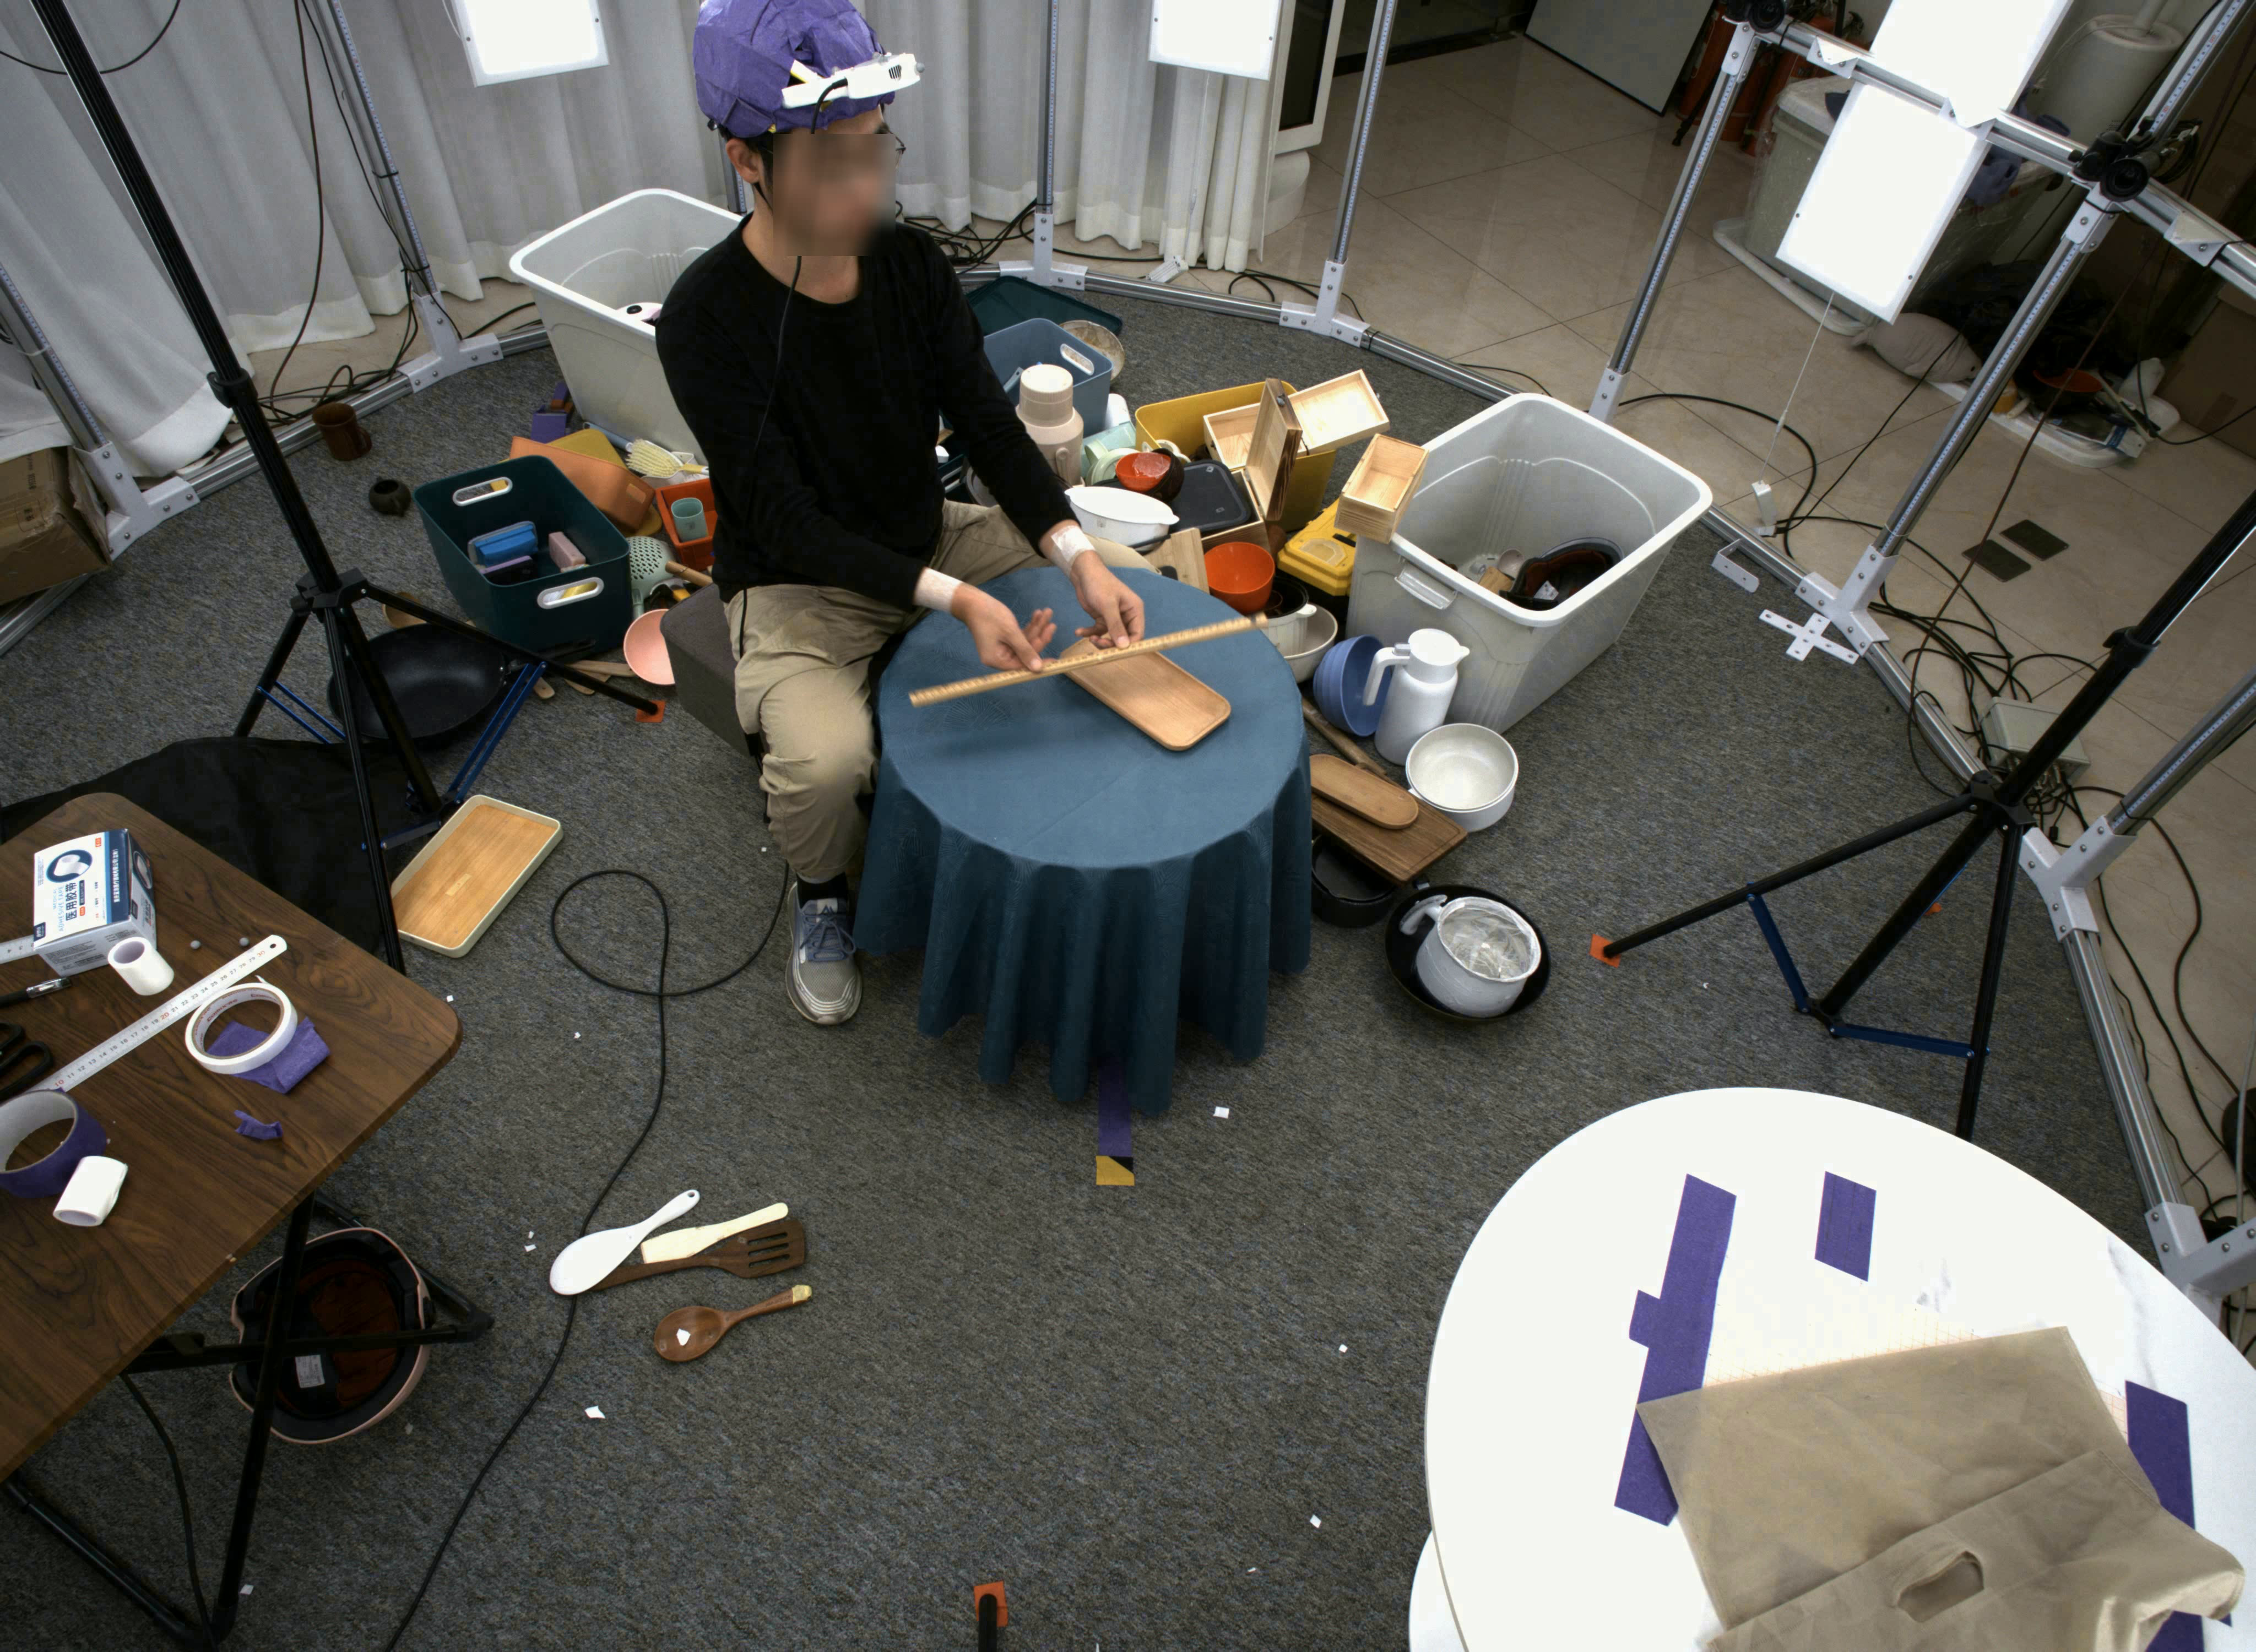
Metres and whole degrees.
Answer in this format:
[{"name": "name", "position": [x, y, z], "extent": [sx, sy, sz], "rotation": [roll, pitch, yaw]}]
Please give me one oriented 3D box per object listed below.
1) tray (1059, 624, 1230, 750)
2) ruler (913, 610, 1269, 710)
[{"name": "tray", "position": [0.022, -0.201, 1.835], "extent": [0.132, 0.022, 0.254], "rotation": [-34, 58, -31]}, {"name": "ruler", "position": [-0.046, -0.228, 1.744], "extent": [0.500, 0.006, 0.027], "rotation": [-16, 43, -10]}]
